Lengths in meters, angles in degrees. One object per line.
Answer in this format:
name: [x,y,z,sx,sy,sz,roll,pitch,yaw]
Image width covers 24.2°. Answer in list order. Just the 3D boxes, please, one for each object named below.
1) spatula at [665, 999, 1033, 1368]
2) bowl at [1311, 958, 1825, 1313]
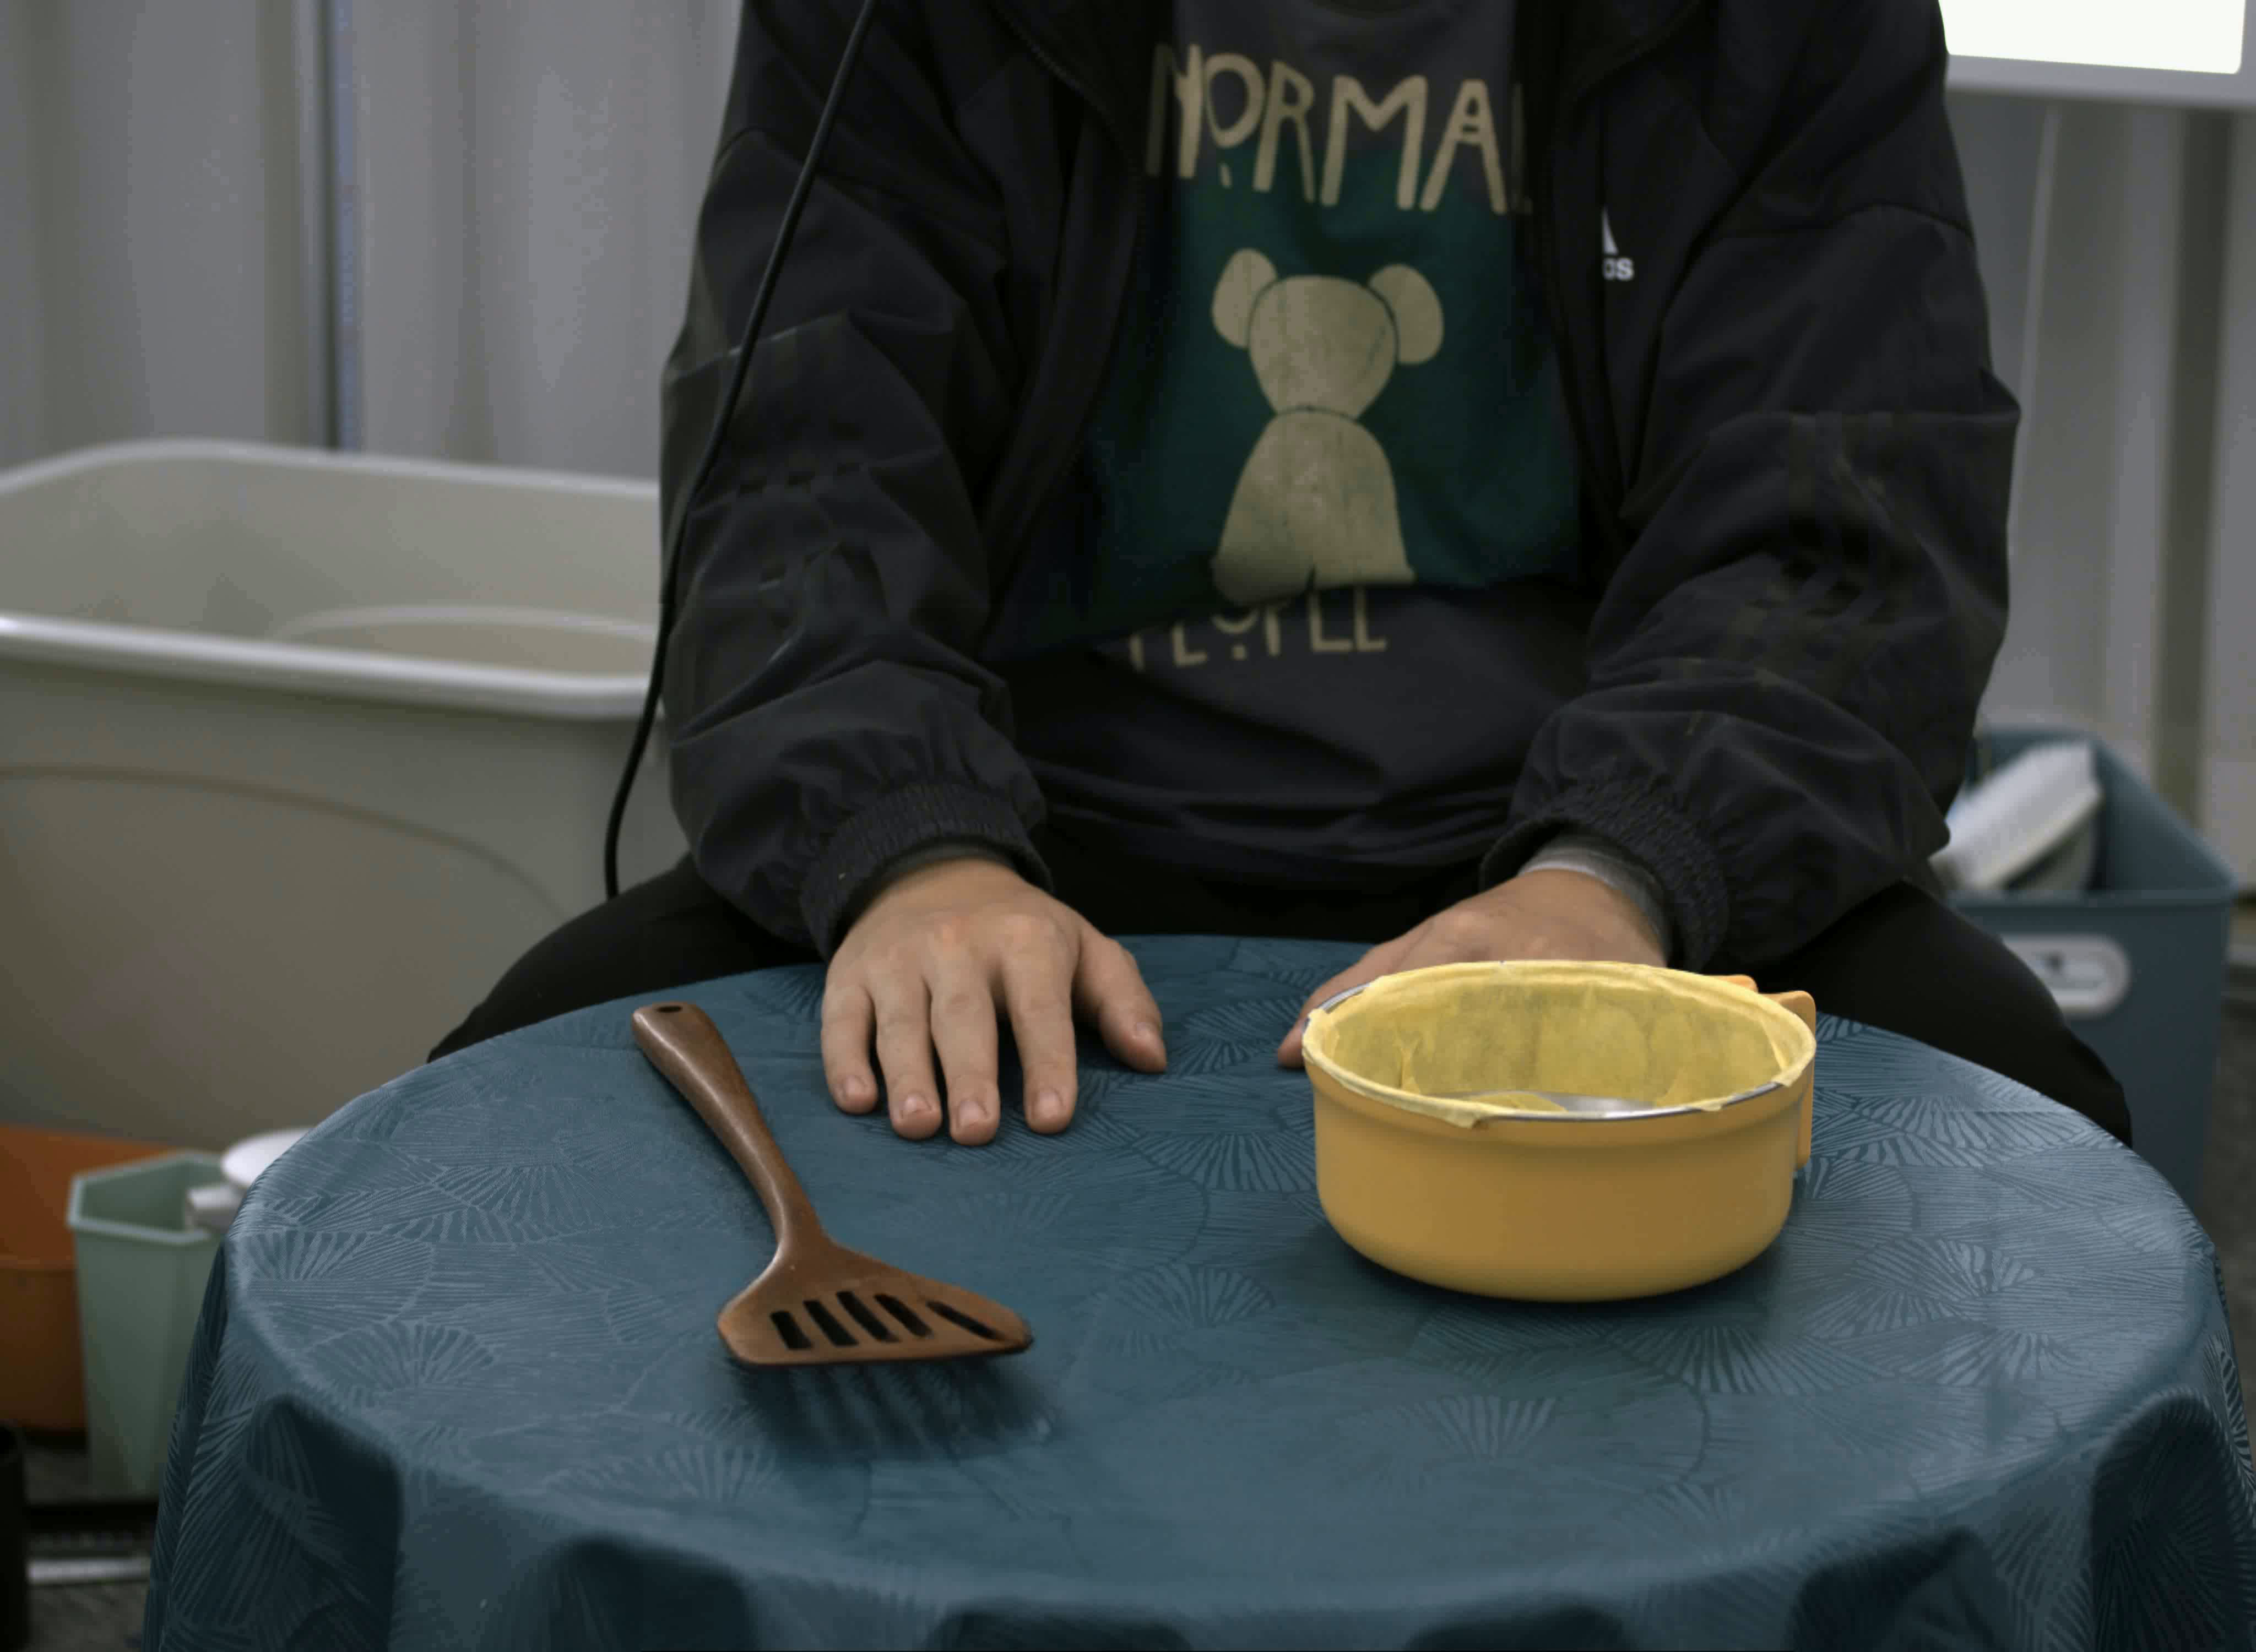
spatula: [-0.105,0.109,1.597,0.085,0.024,0.383,-2,14,-13]
bowl: [0.140,0.092,1.582,0.151,0.075,0.180,14,20,40]
